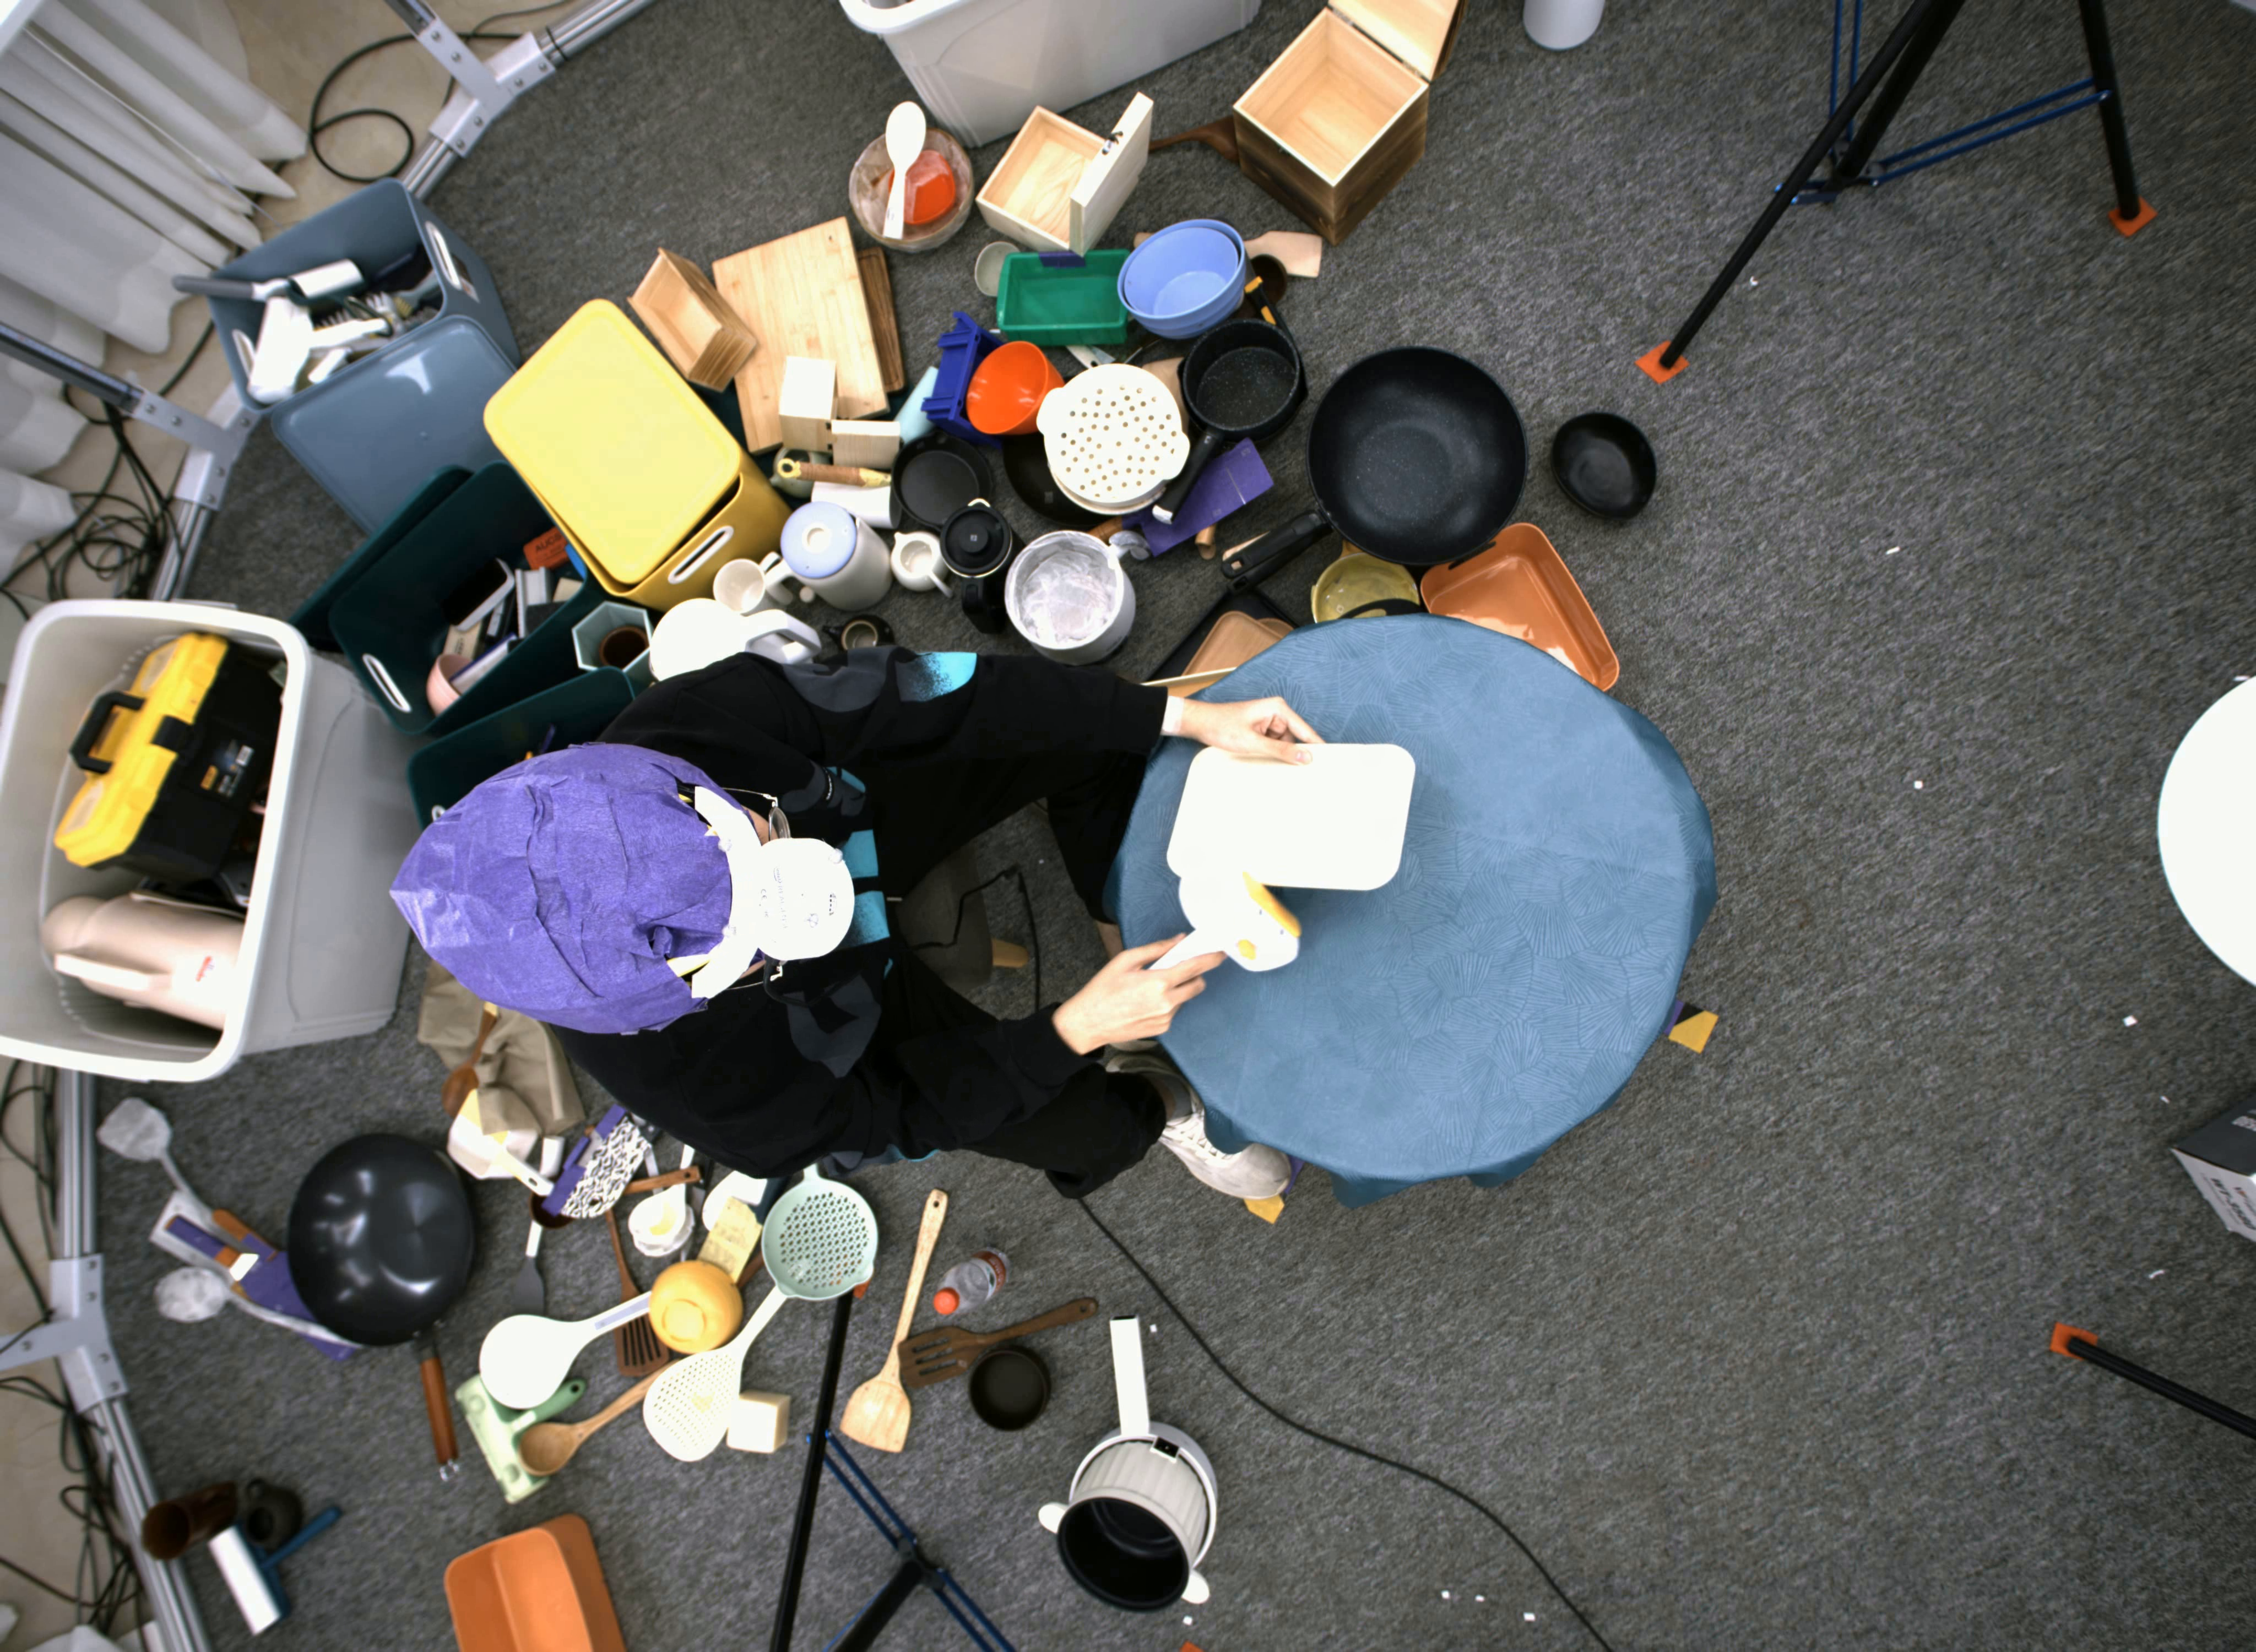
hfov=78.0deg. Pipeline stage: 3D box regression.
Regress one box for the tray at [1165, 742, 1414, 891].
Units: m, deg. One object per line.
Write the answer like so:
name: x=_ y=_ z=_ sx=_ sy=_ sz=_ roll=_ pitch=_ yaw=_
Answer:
tray: x=0.163 y=-0.012 z=1.393 sx=0.241 sy=0.018 sz=0.167 roll=3 pitch=60 yaw=24

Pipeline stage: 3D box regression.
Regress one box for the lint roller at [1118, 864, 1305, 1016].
lint roller: x=0.067 y=0.123 z=1.386 sx=0.195 sy=0.194 sz=0.073 roll=-30 pitch=61 yaw=20
